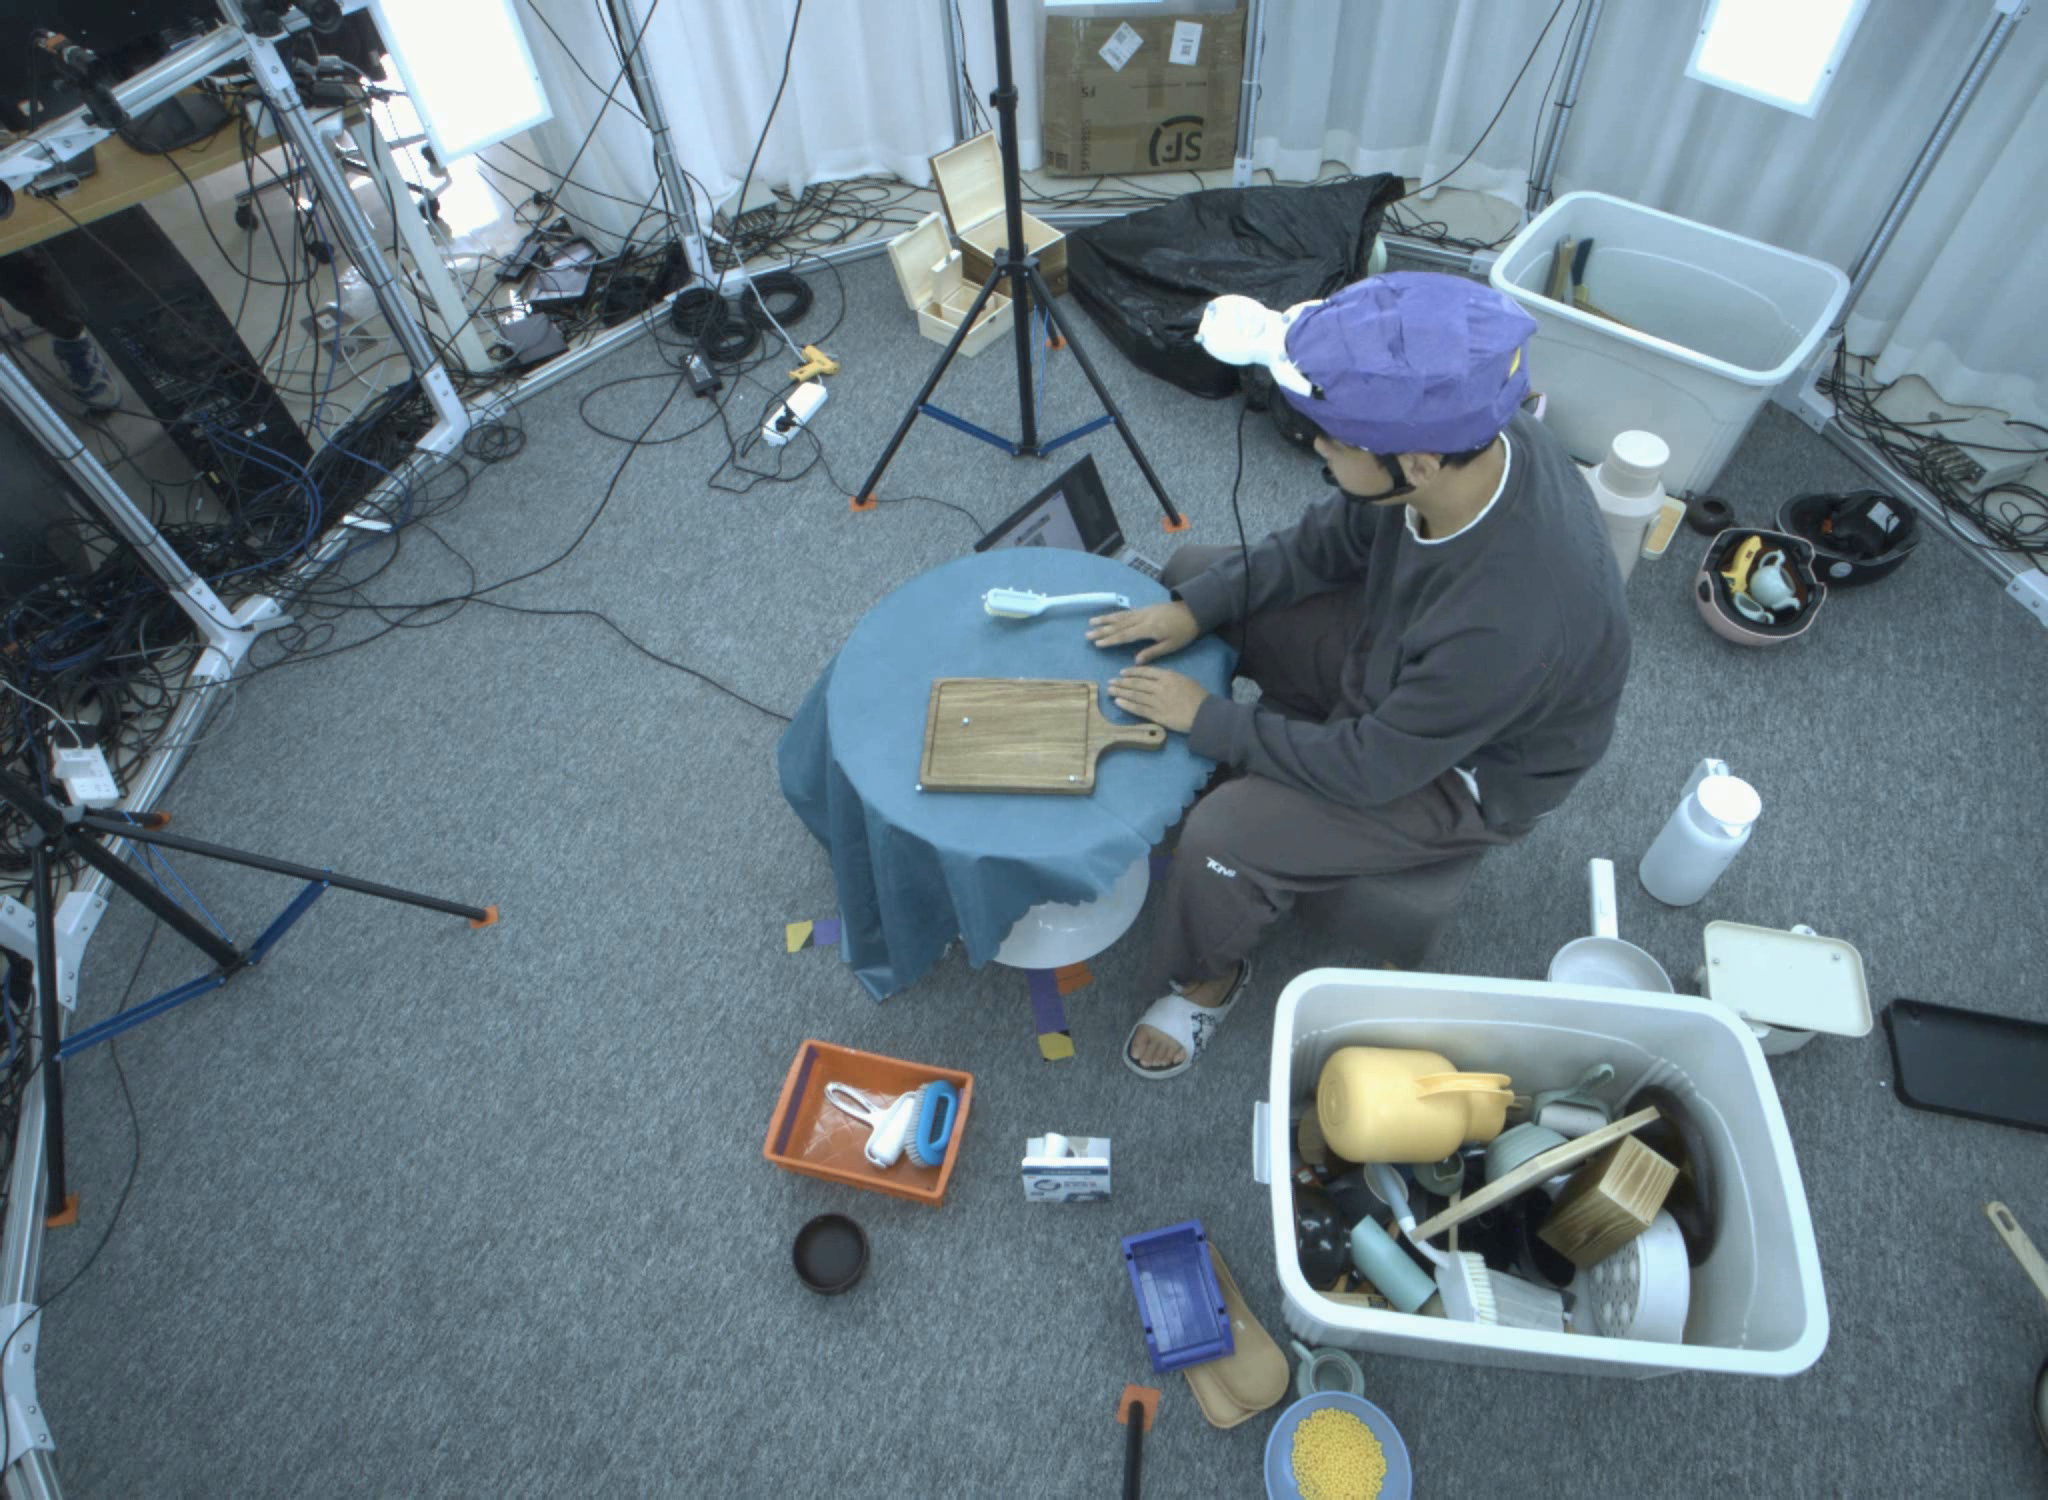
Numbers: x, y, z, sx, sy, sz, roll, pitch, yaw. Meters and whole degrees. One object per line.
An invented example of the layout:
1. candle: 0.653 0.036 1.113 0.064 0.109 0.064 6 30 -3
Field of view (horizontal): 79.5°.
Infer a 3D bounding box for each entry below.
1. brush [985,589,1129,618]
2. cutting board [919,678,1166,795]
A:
1. brush: 0.051 -0.231 1.930 0.230 0.050 0.037 -3 66 -10
2. cutting board: 0.030 -0.021 1.789 0.351 0.023 0.199 2 55 2
